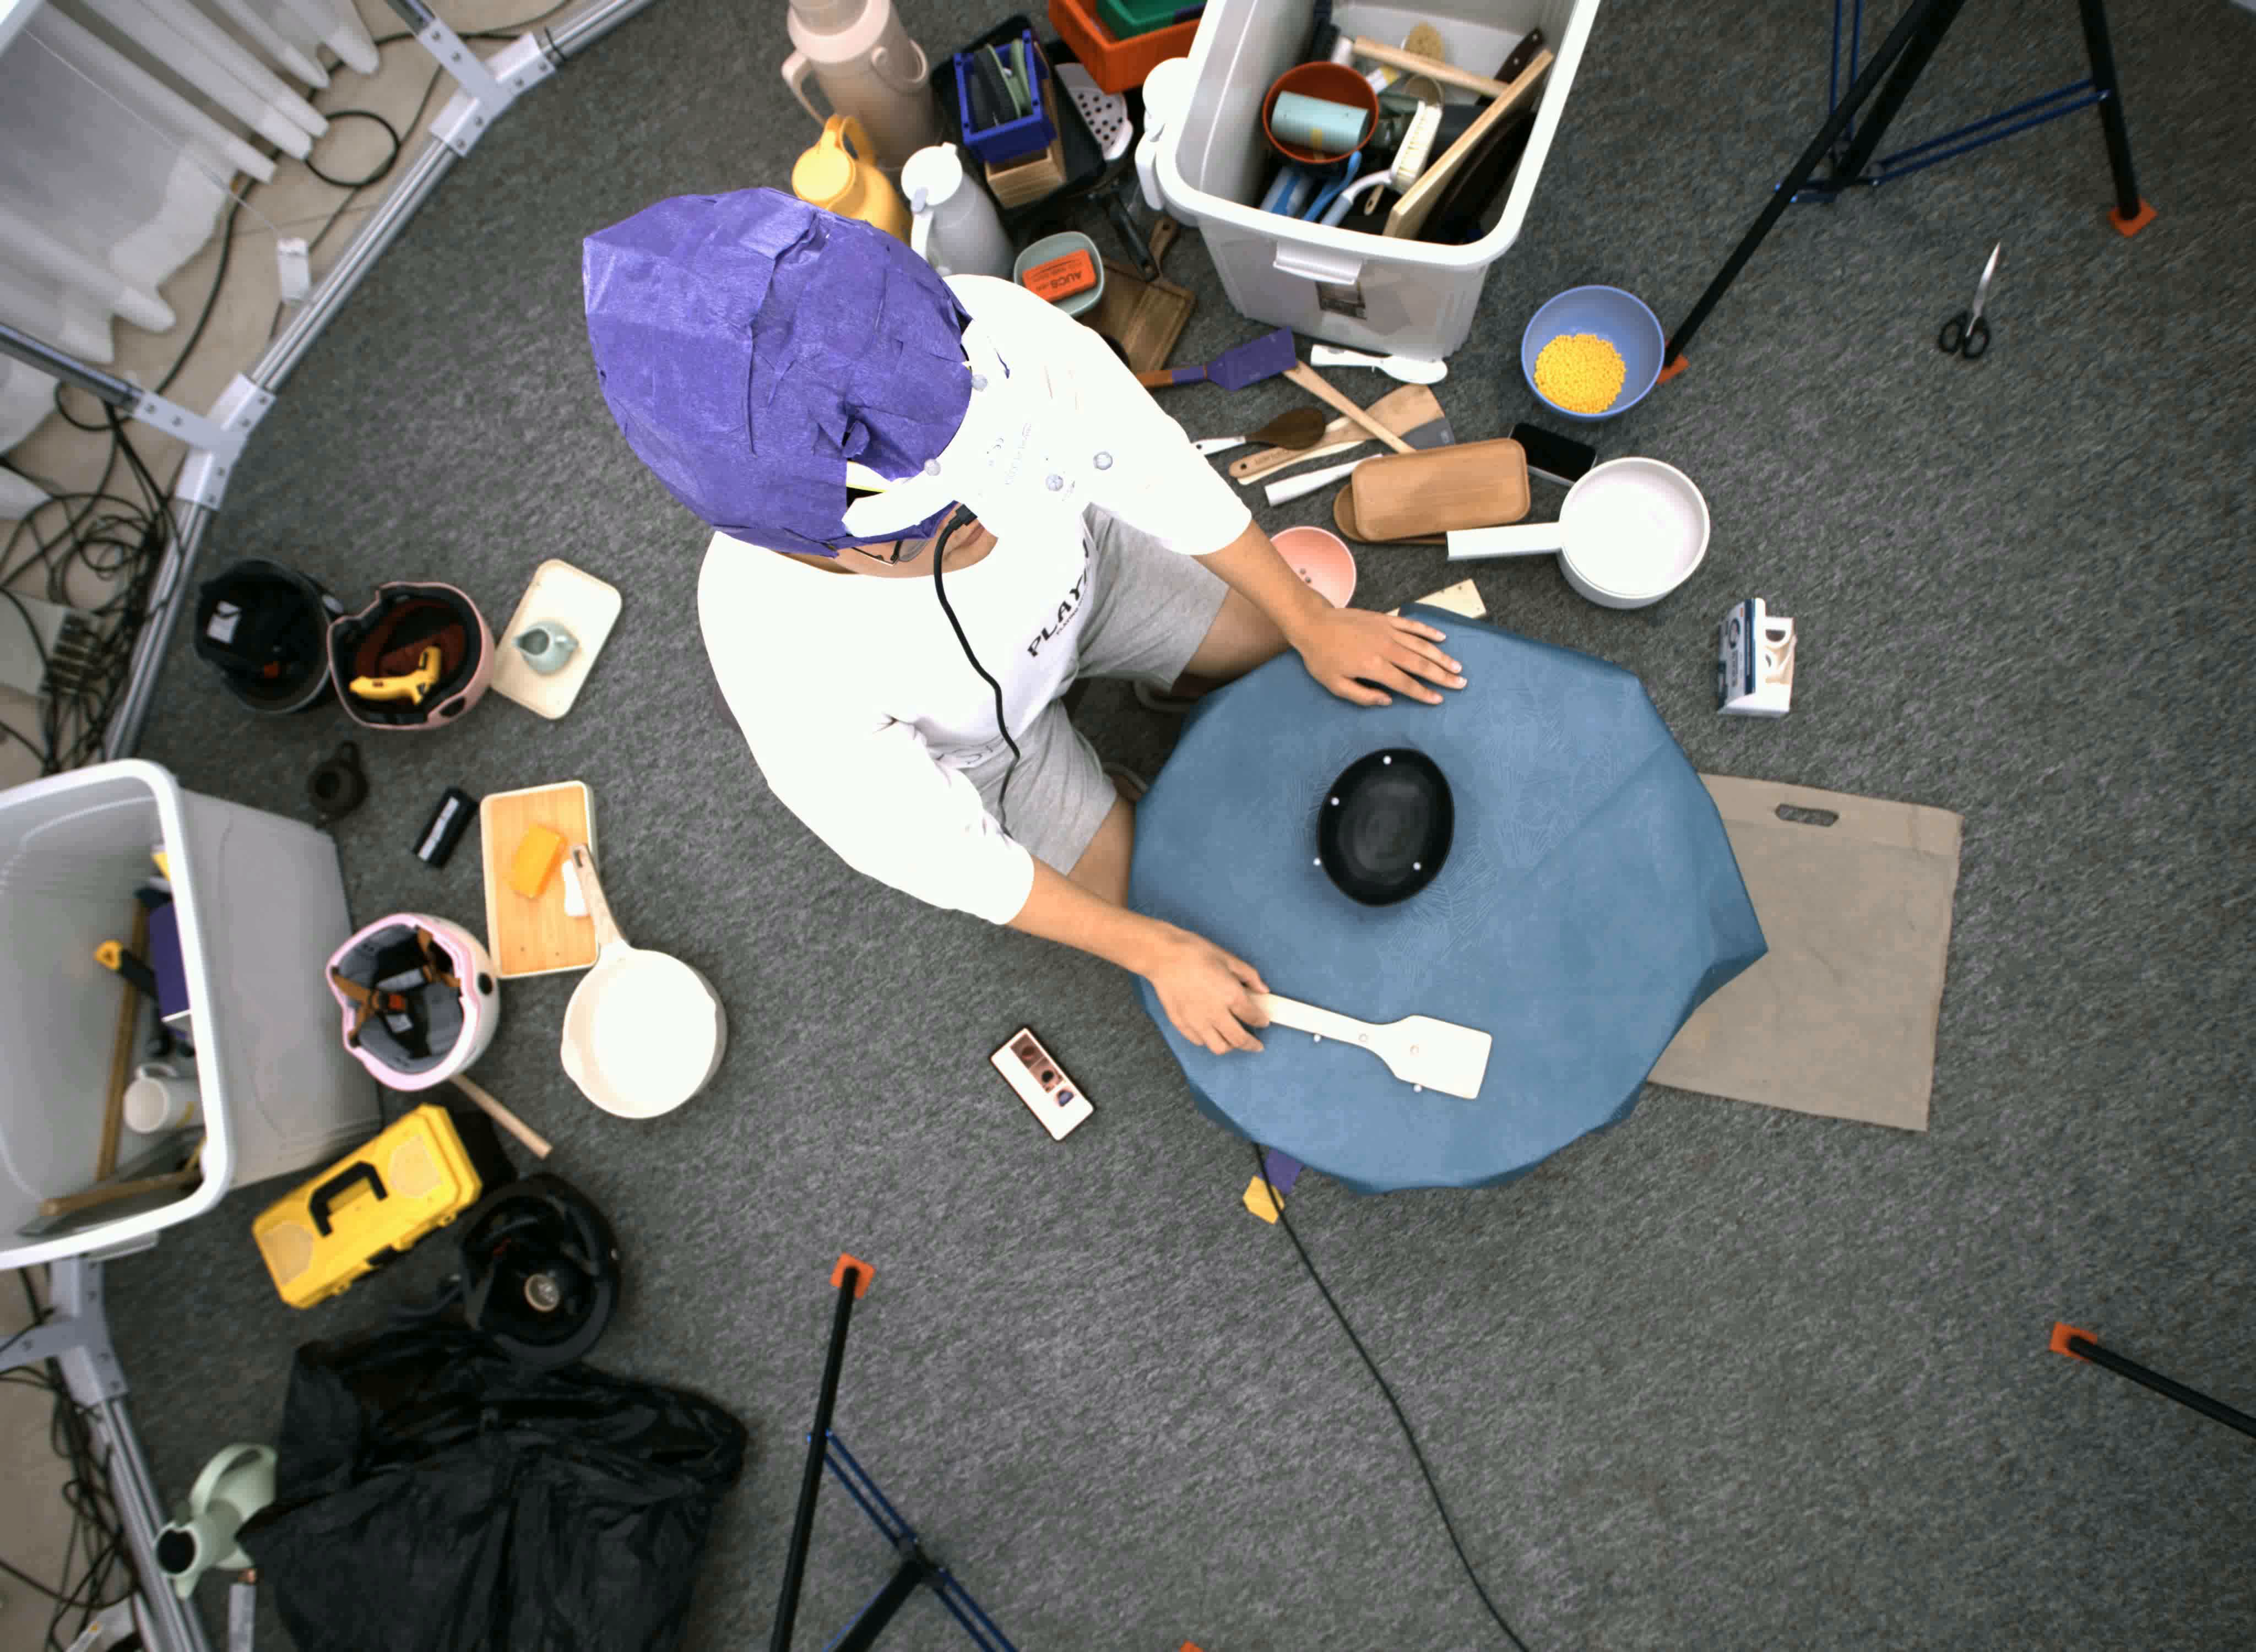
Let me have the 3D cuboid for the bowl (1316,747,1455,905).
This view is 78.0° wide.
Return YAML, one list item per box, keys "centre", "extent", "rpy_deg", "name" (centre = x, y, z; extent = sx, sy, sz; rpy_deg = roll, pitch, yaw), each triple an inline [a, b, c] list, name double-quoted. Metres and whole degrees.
- centre: [0.268, 0.000, 1.432]
  extent: [0.137, 0.067, 0.170]
  rpy_deg: [18, 88, 12]
  name: "bowl"

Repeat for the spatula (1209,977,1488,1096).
- centre: [0.226, 0.209, 1.453]
  extent: [0.293, 0.011, 0.072]
  rpy_deg: [15, 88, 10]
  name: "spatula"
